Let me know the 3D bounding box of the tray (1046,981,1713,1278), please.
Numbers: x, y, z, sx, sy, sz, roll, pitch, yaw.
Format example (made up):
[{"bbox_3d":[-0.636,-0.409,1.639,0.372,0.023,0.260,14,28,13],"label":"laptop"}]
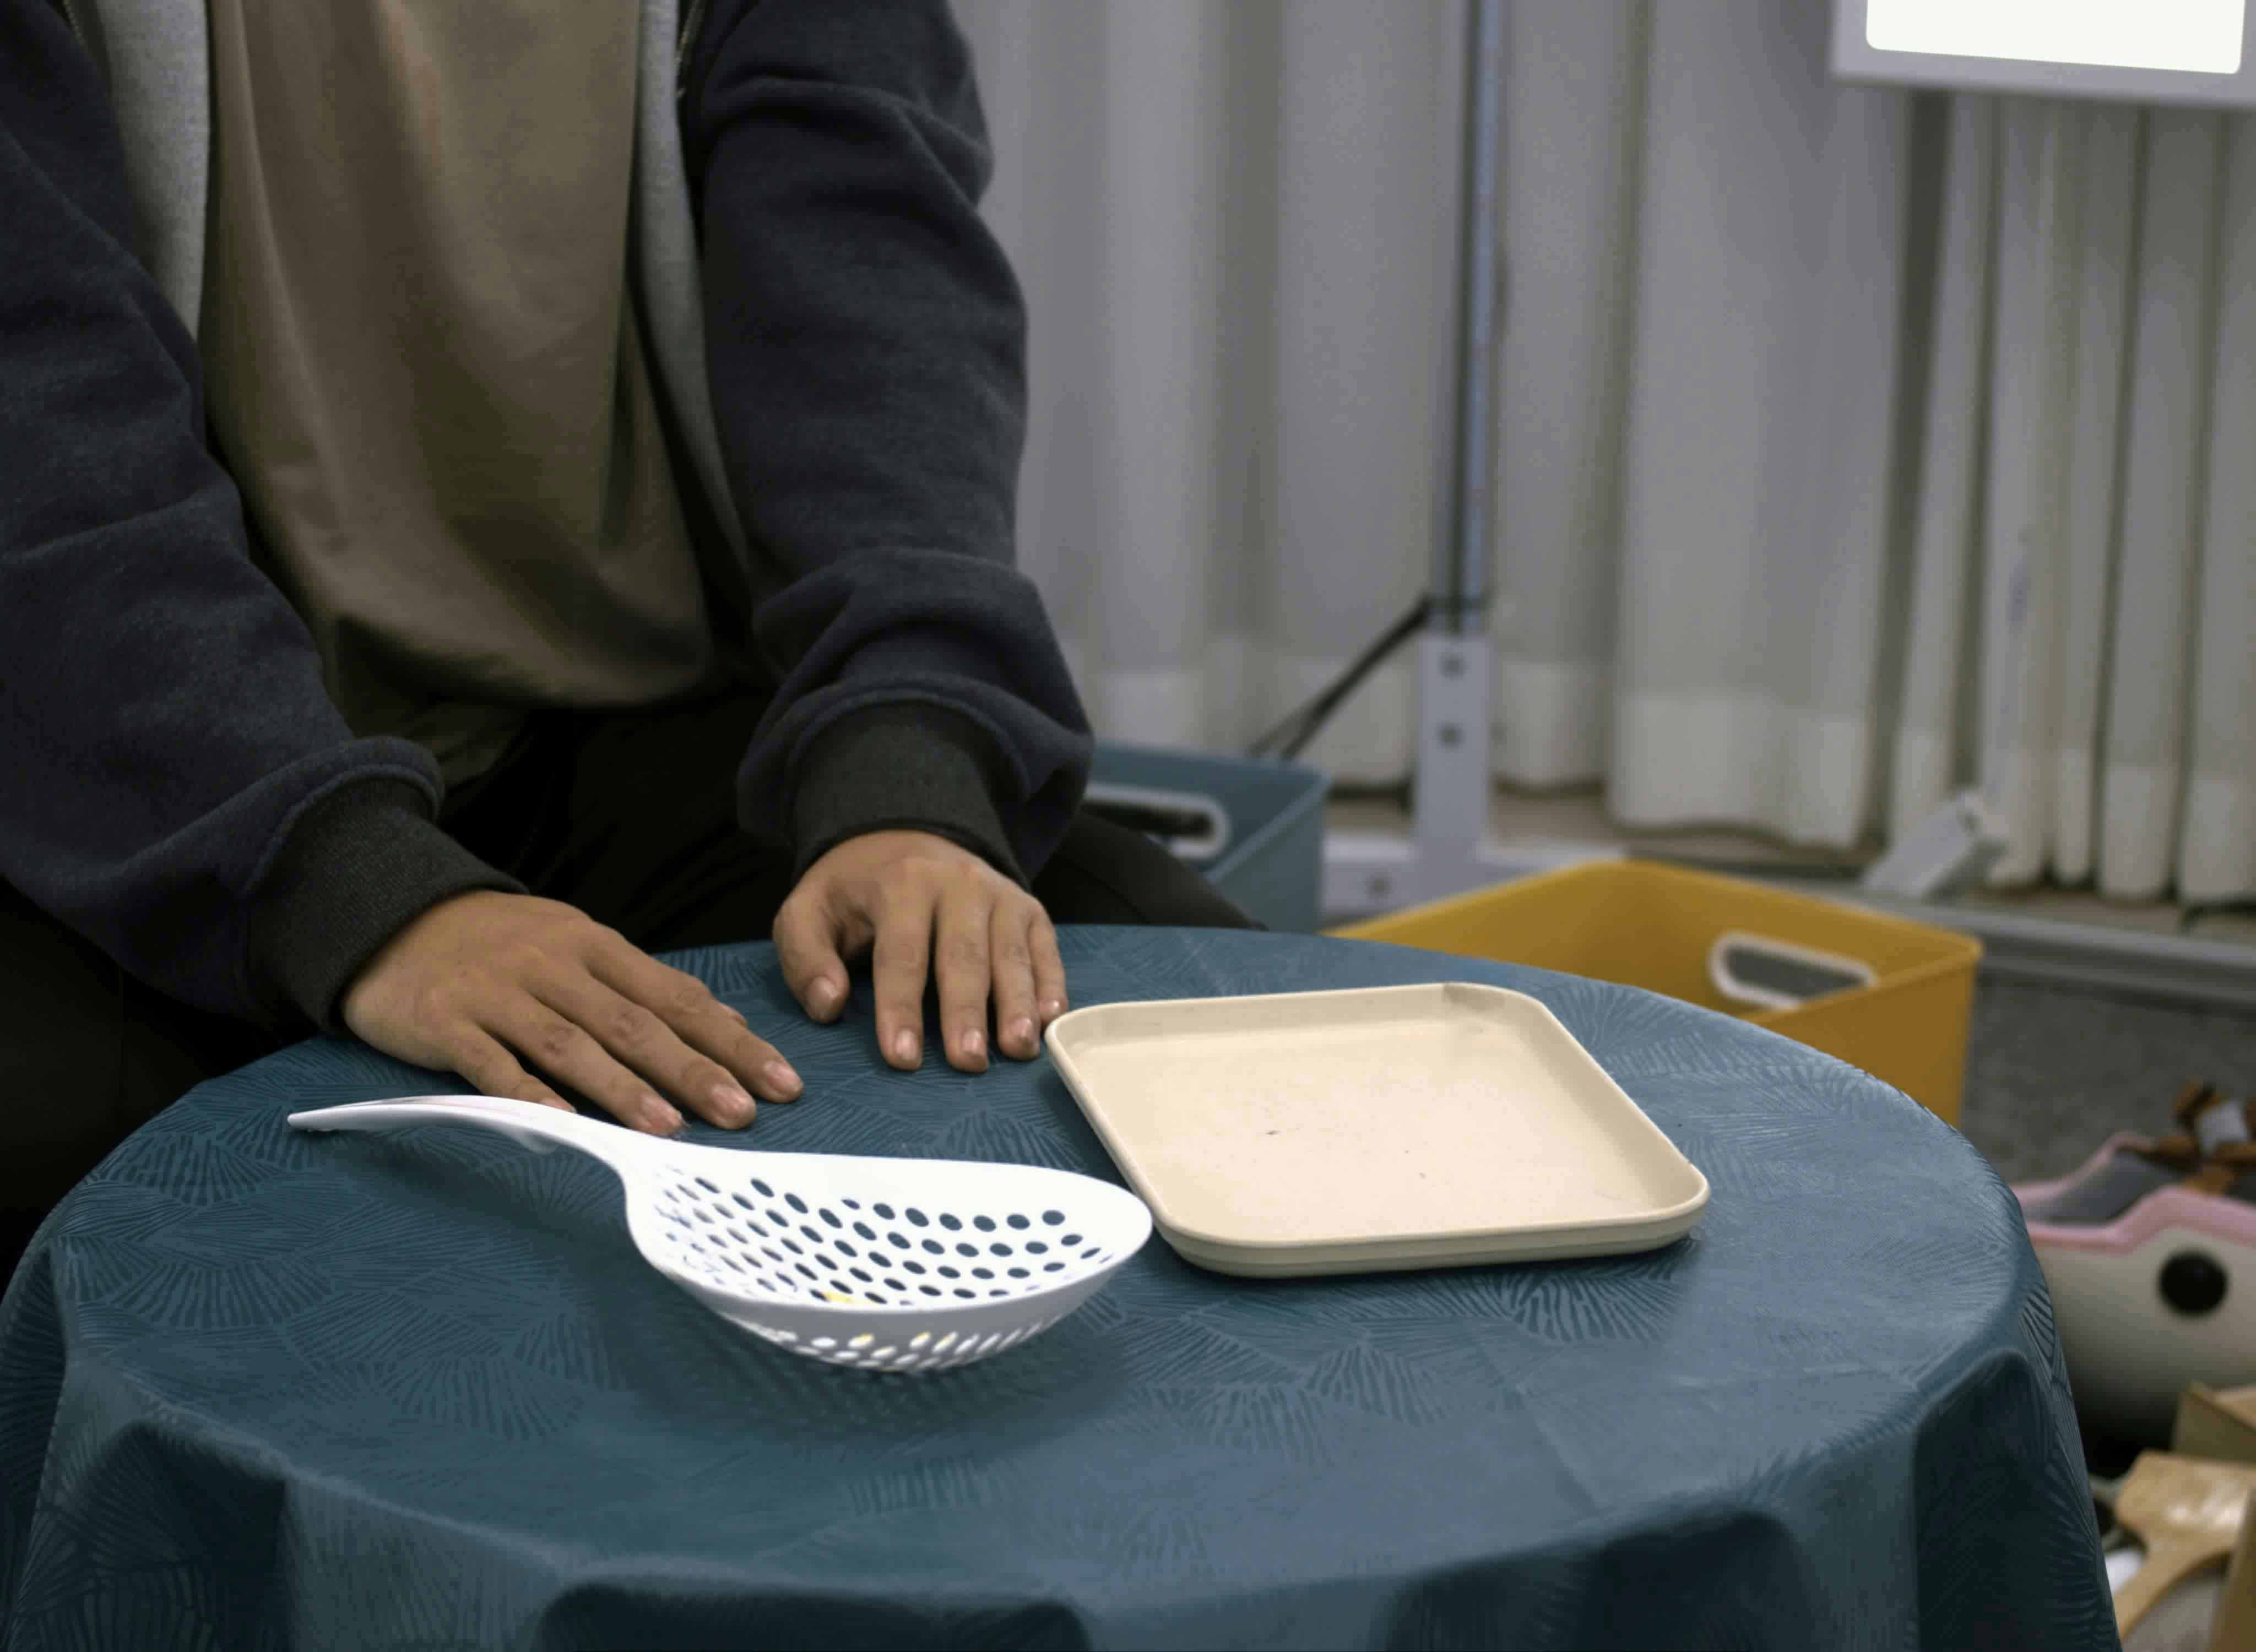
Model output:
[{"bbox_3d":[0.074,0.094,1.658,0.171,0.017,0.237,-3,16,-12],"label":"tray"}]

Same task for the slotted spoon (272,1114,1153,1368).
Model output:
[{"bbox_3d":[-0.139,0.109,1.554,0.343,0.051,0.137,14,24,42],"label":"slotted spoon"}]
